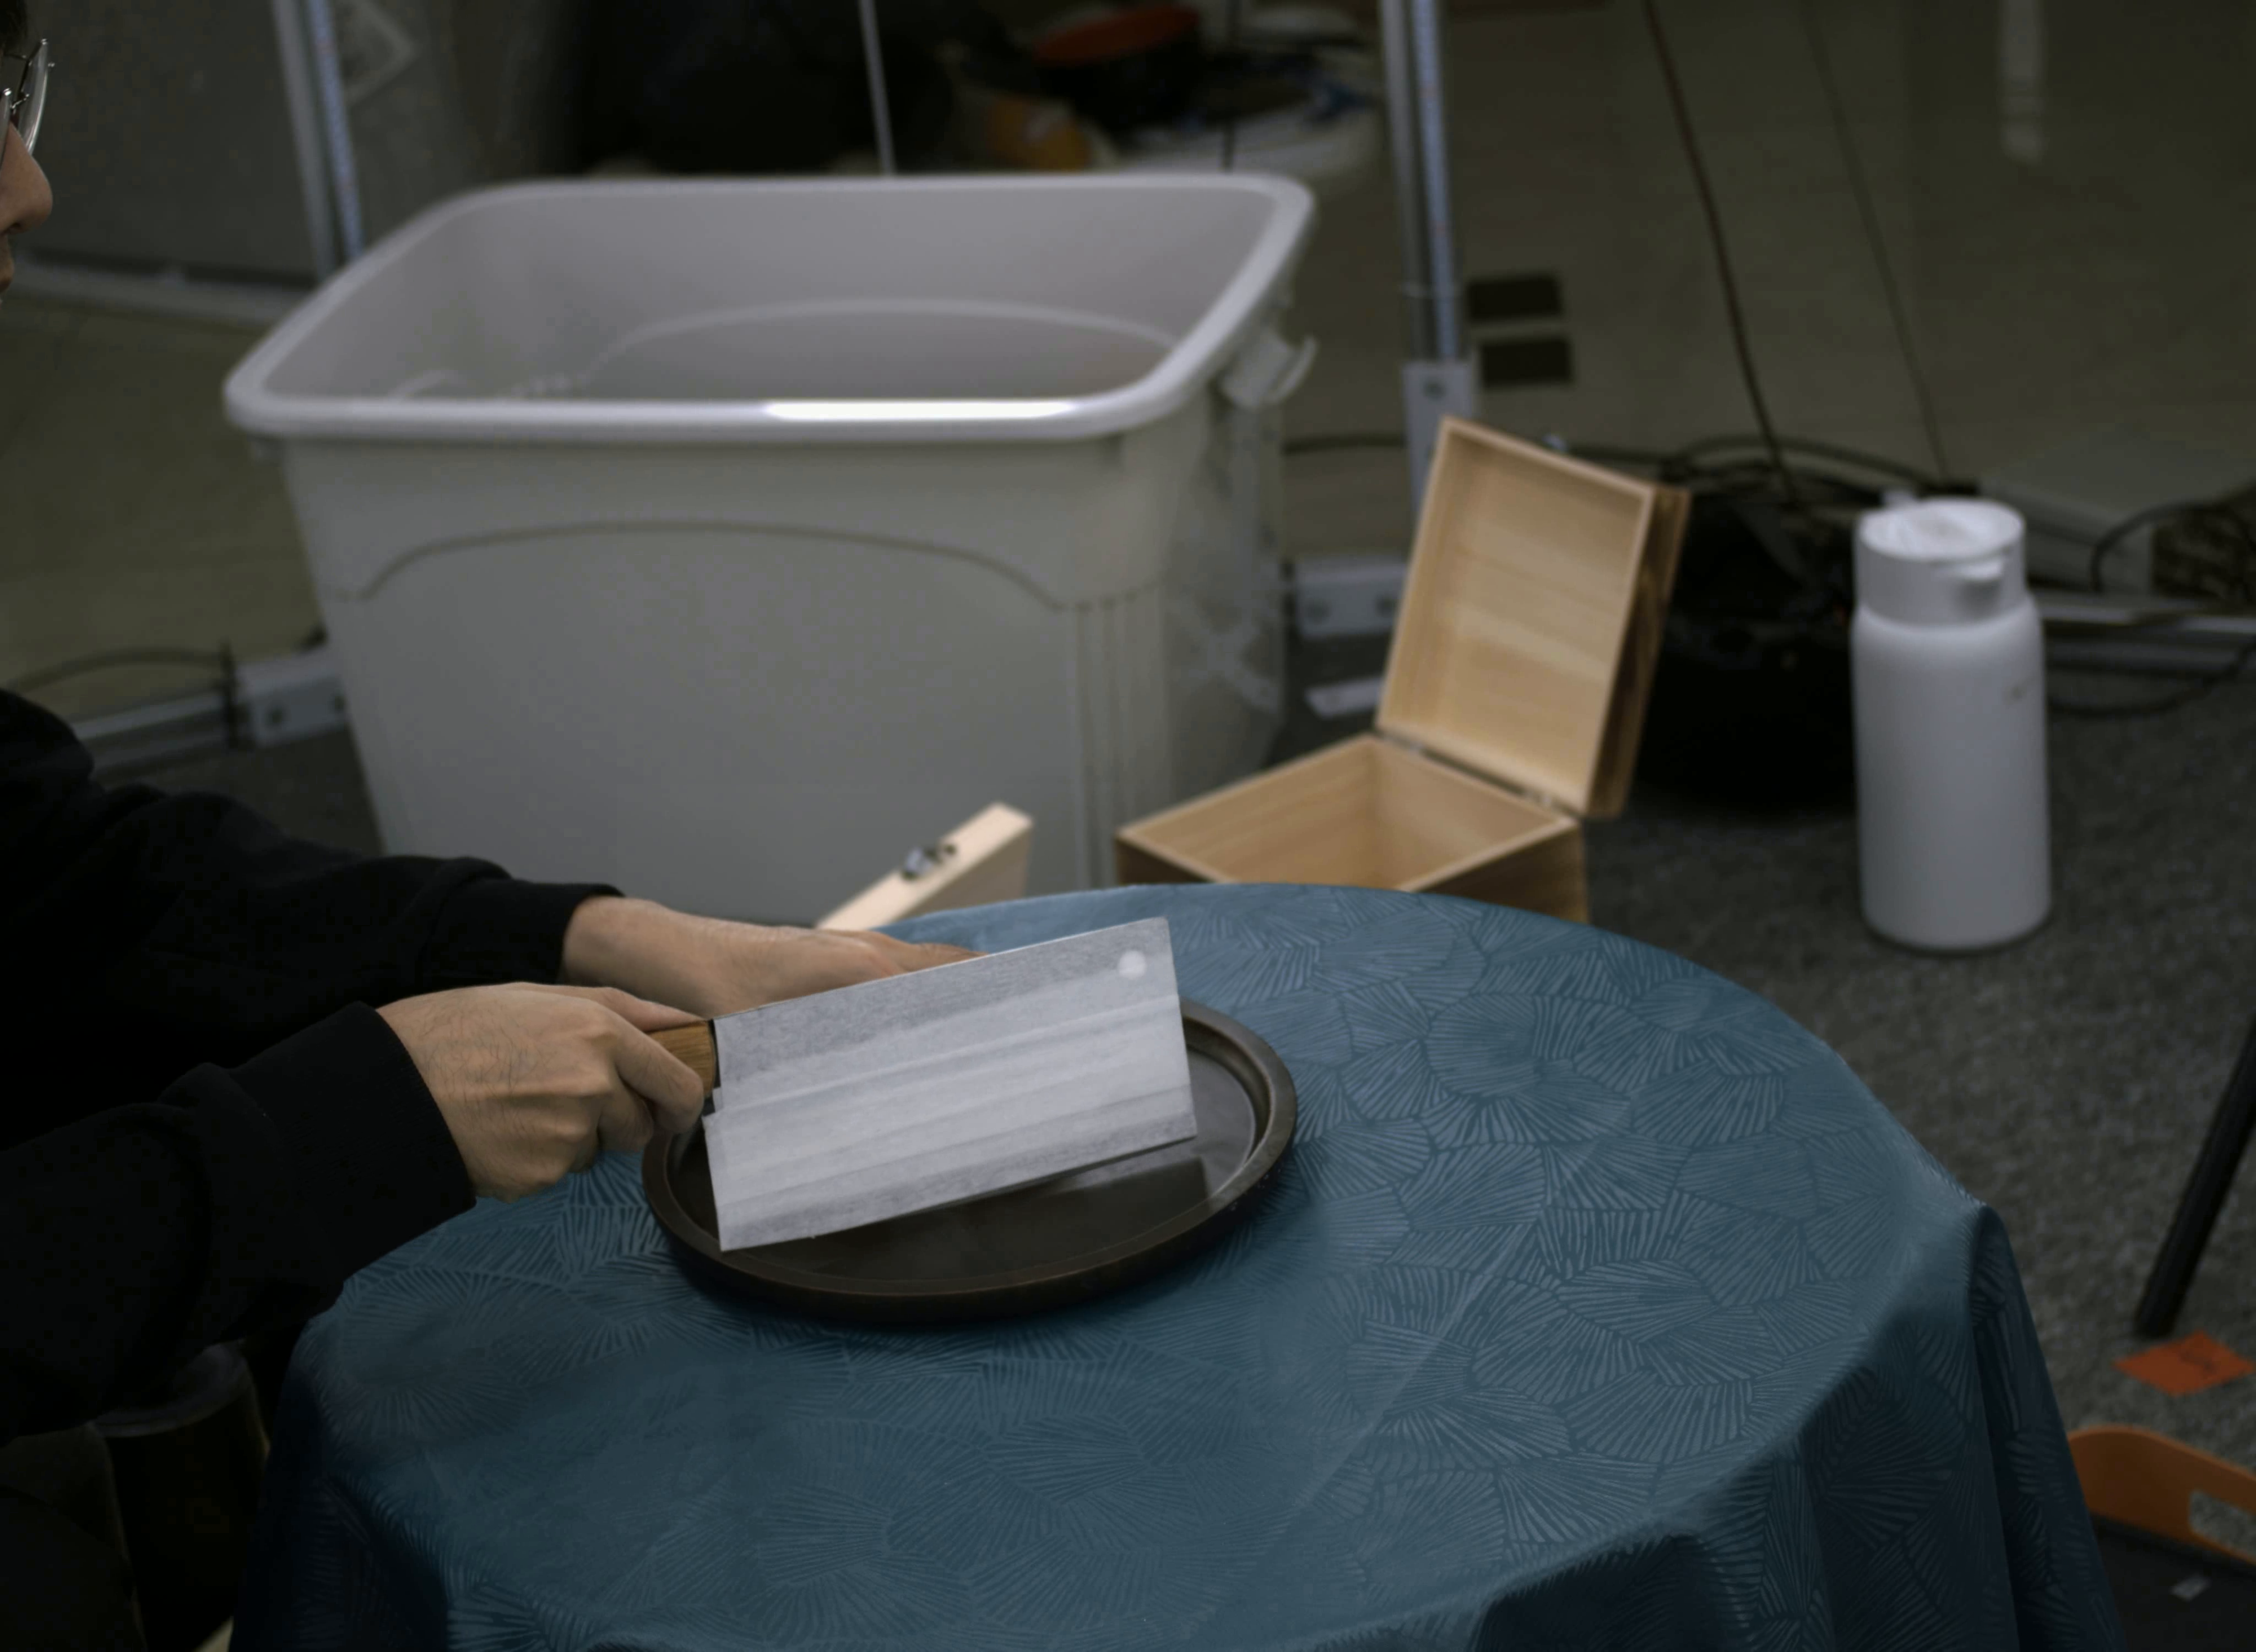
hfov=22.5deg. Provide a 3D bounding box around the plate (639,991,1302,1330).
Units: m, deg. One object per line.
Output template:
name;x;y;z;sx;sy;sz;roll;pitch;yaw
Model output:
plate;-0.059;0.123;2.164;0.254;0.029;0.251;-4;27;2

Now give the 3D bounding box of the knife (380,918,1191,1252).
knife;-0.121;0.106;2.088;0.305;0.094;0.021;-12;17;-16
